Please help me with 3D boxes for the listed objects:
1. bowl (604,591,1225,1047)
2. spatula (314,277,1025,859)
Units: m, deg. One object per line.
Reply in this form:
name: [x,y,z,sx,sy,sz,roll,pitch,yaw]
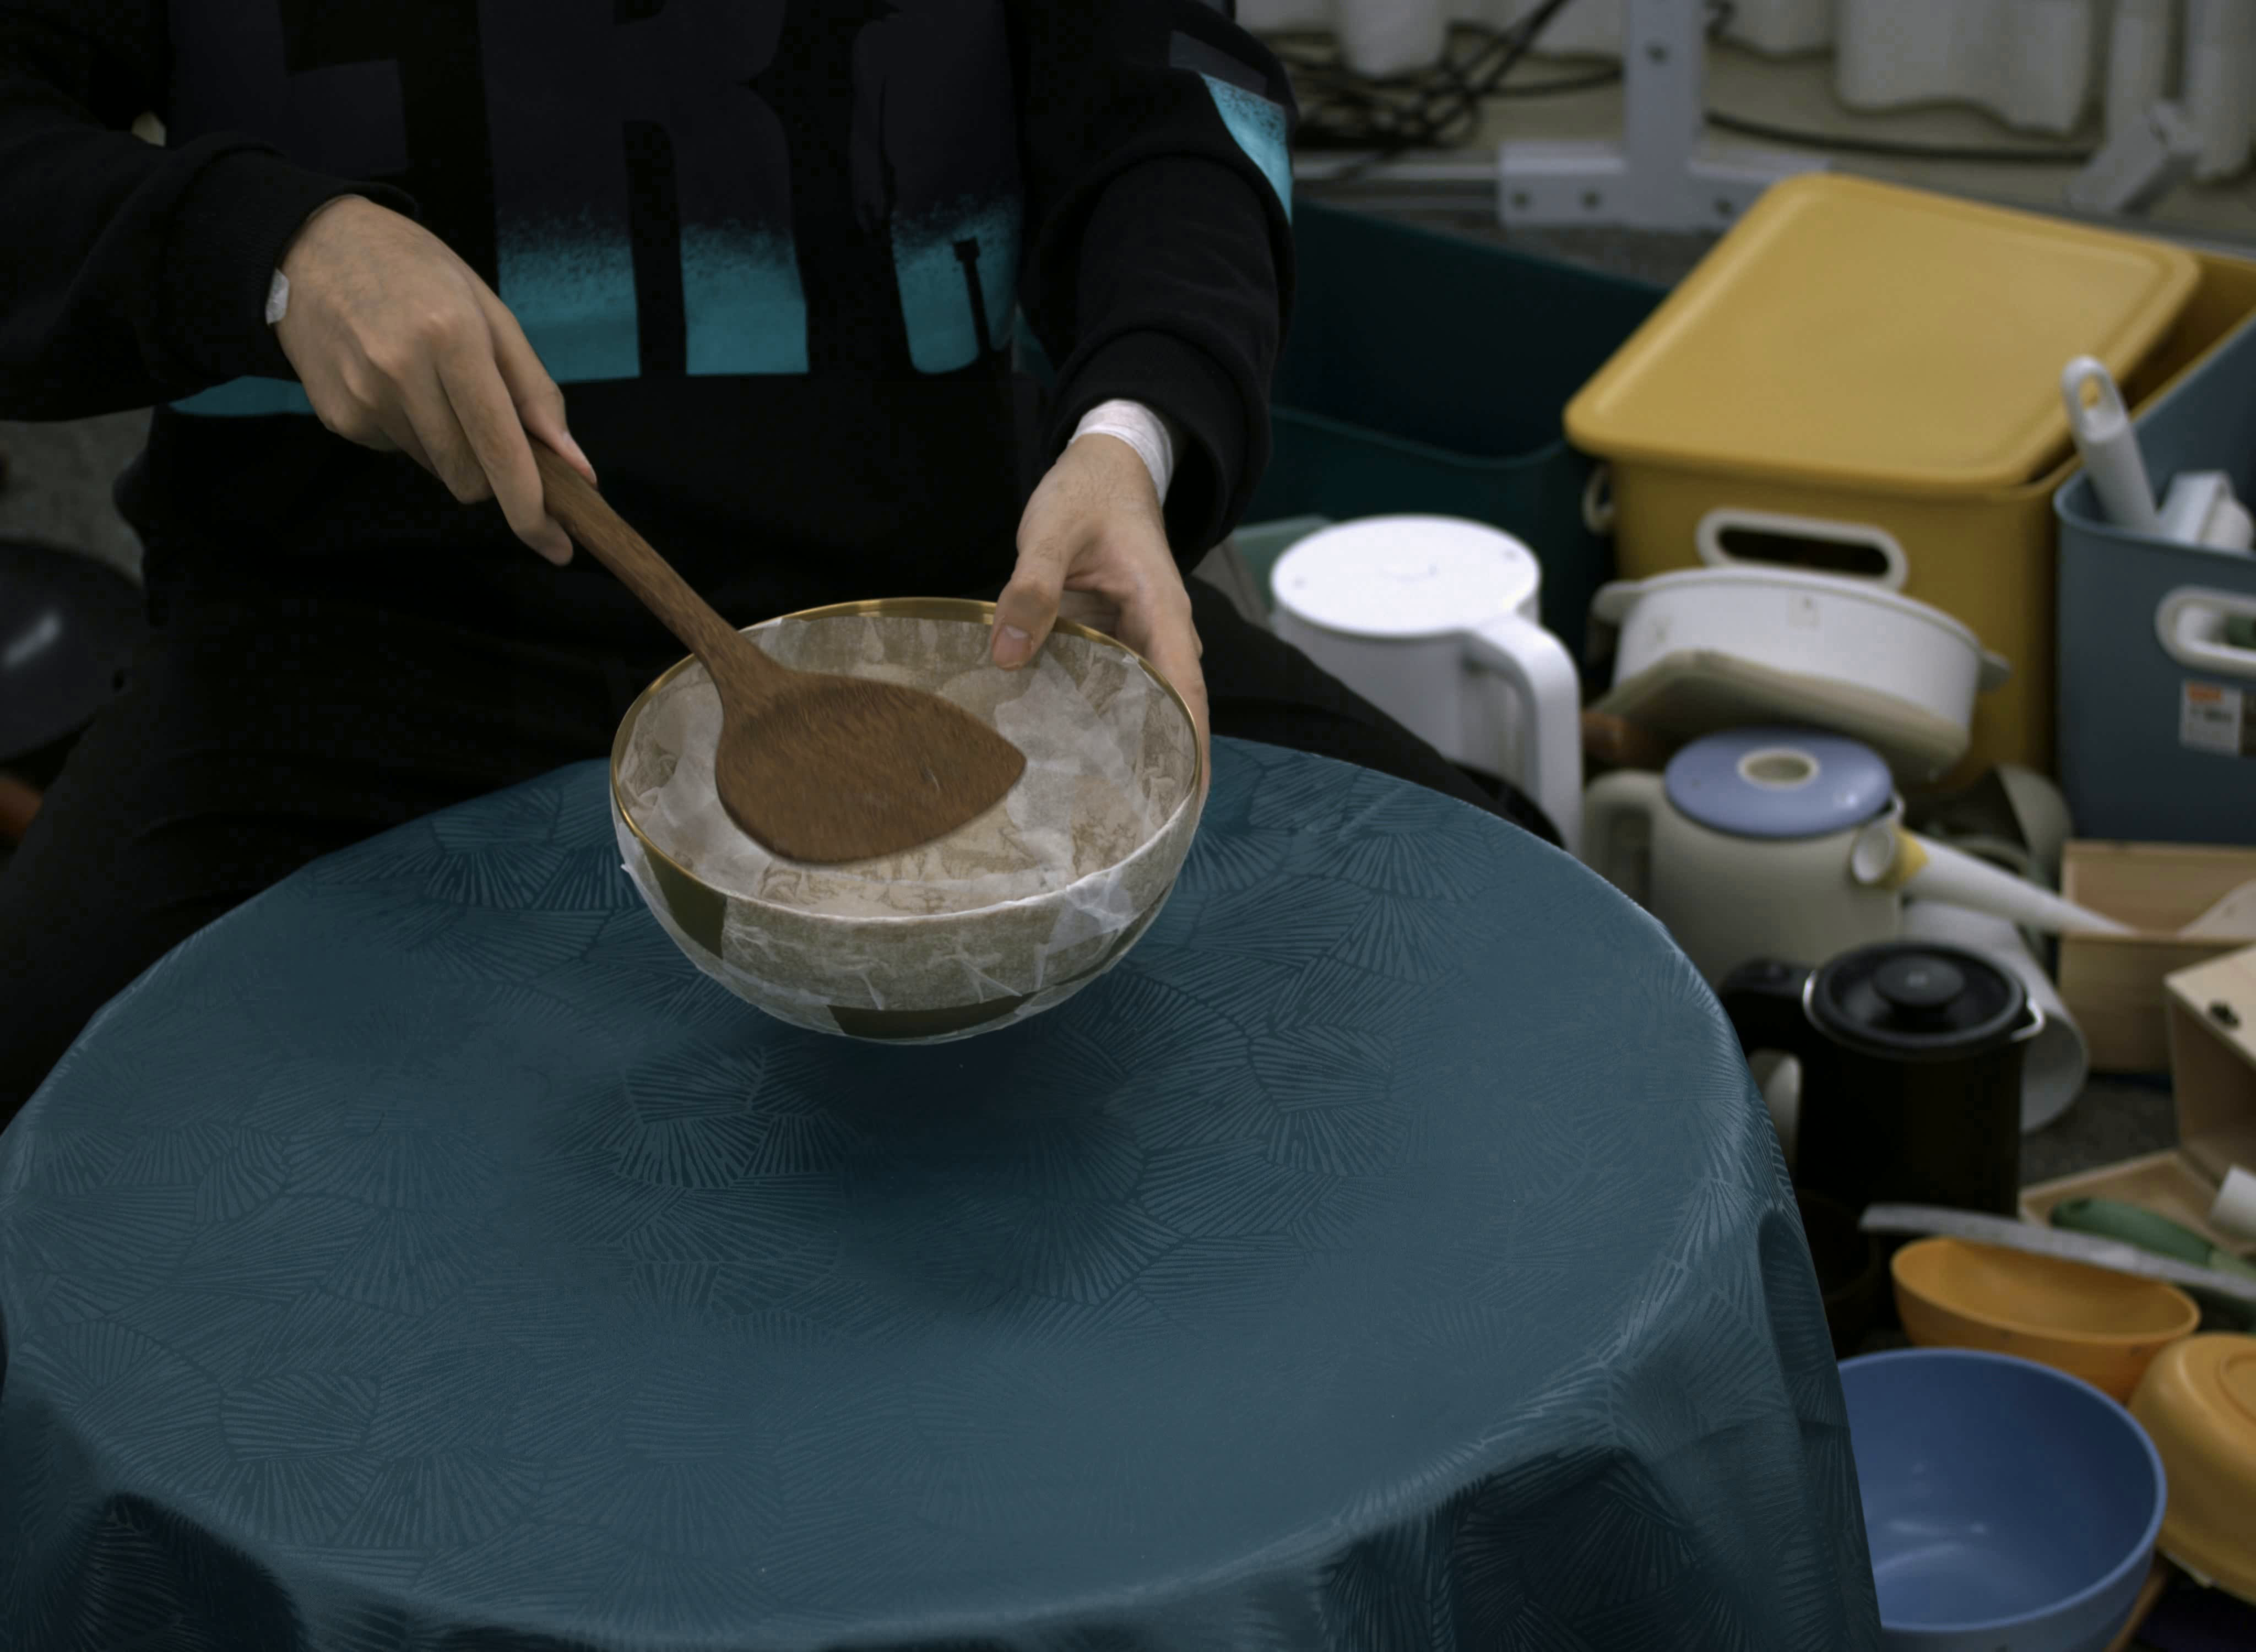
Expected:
bowl: [-0.071,0.010,1.904,0.213,0.093,0.218,-1,32,1]
spatula: [-0.177,-0.098,1.938,0.097,0.015,0.388,-24,46,-29]
